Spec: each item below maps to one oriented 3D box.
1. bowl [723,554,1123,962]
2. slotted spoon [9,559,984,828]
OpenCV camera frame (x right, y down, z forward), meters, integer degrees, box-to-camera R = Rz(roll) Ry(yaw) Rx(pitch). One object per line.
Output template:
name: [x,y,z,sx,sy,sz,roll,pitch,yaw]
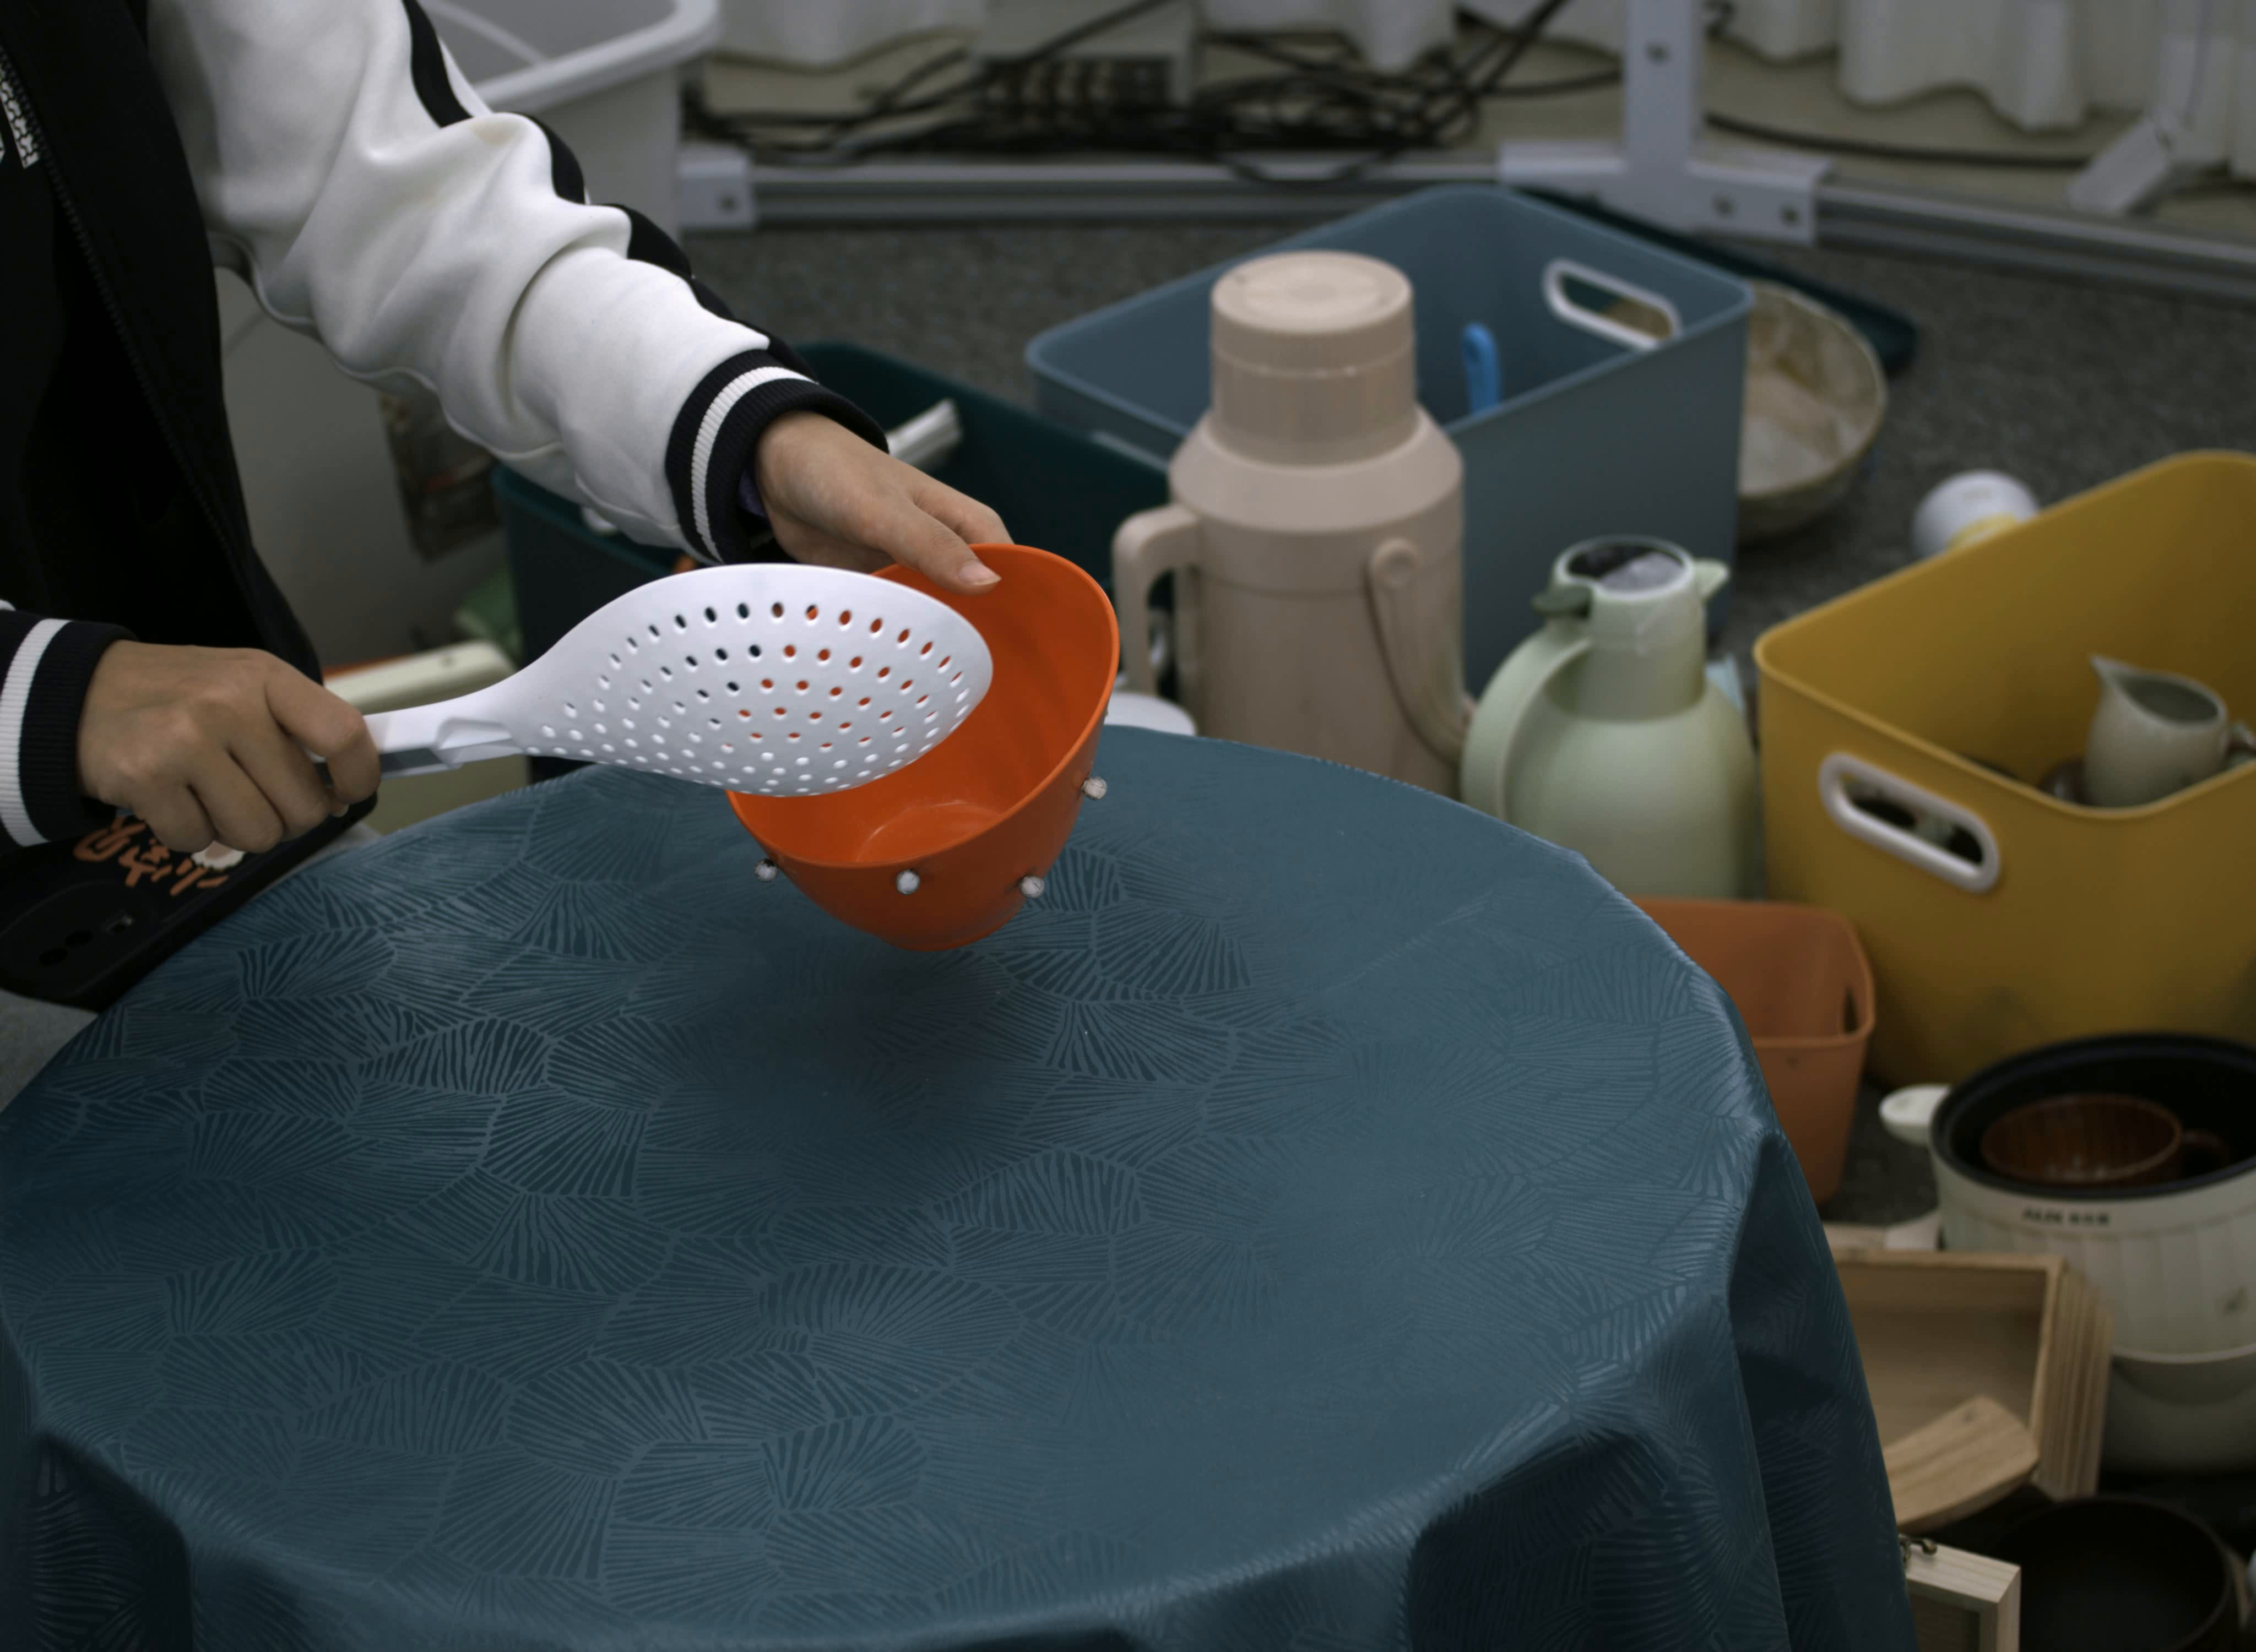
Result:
bowl: [-0.063,-0.012,1.961,0.147,0.103,0.151,-8,44,8]
slotted spoon: [-0.215,-0.033,1.872,0.346,0.135,0.046,-4,63,20]
